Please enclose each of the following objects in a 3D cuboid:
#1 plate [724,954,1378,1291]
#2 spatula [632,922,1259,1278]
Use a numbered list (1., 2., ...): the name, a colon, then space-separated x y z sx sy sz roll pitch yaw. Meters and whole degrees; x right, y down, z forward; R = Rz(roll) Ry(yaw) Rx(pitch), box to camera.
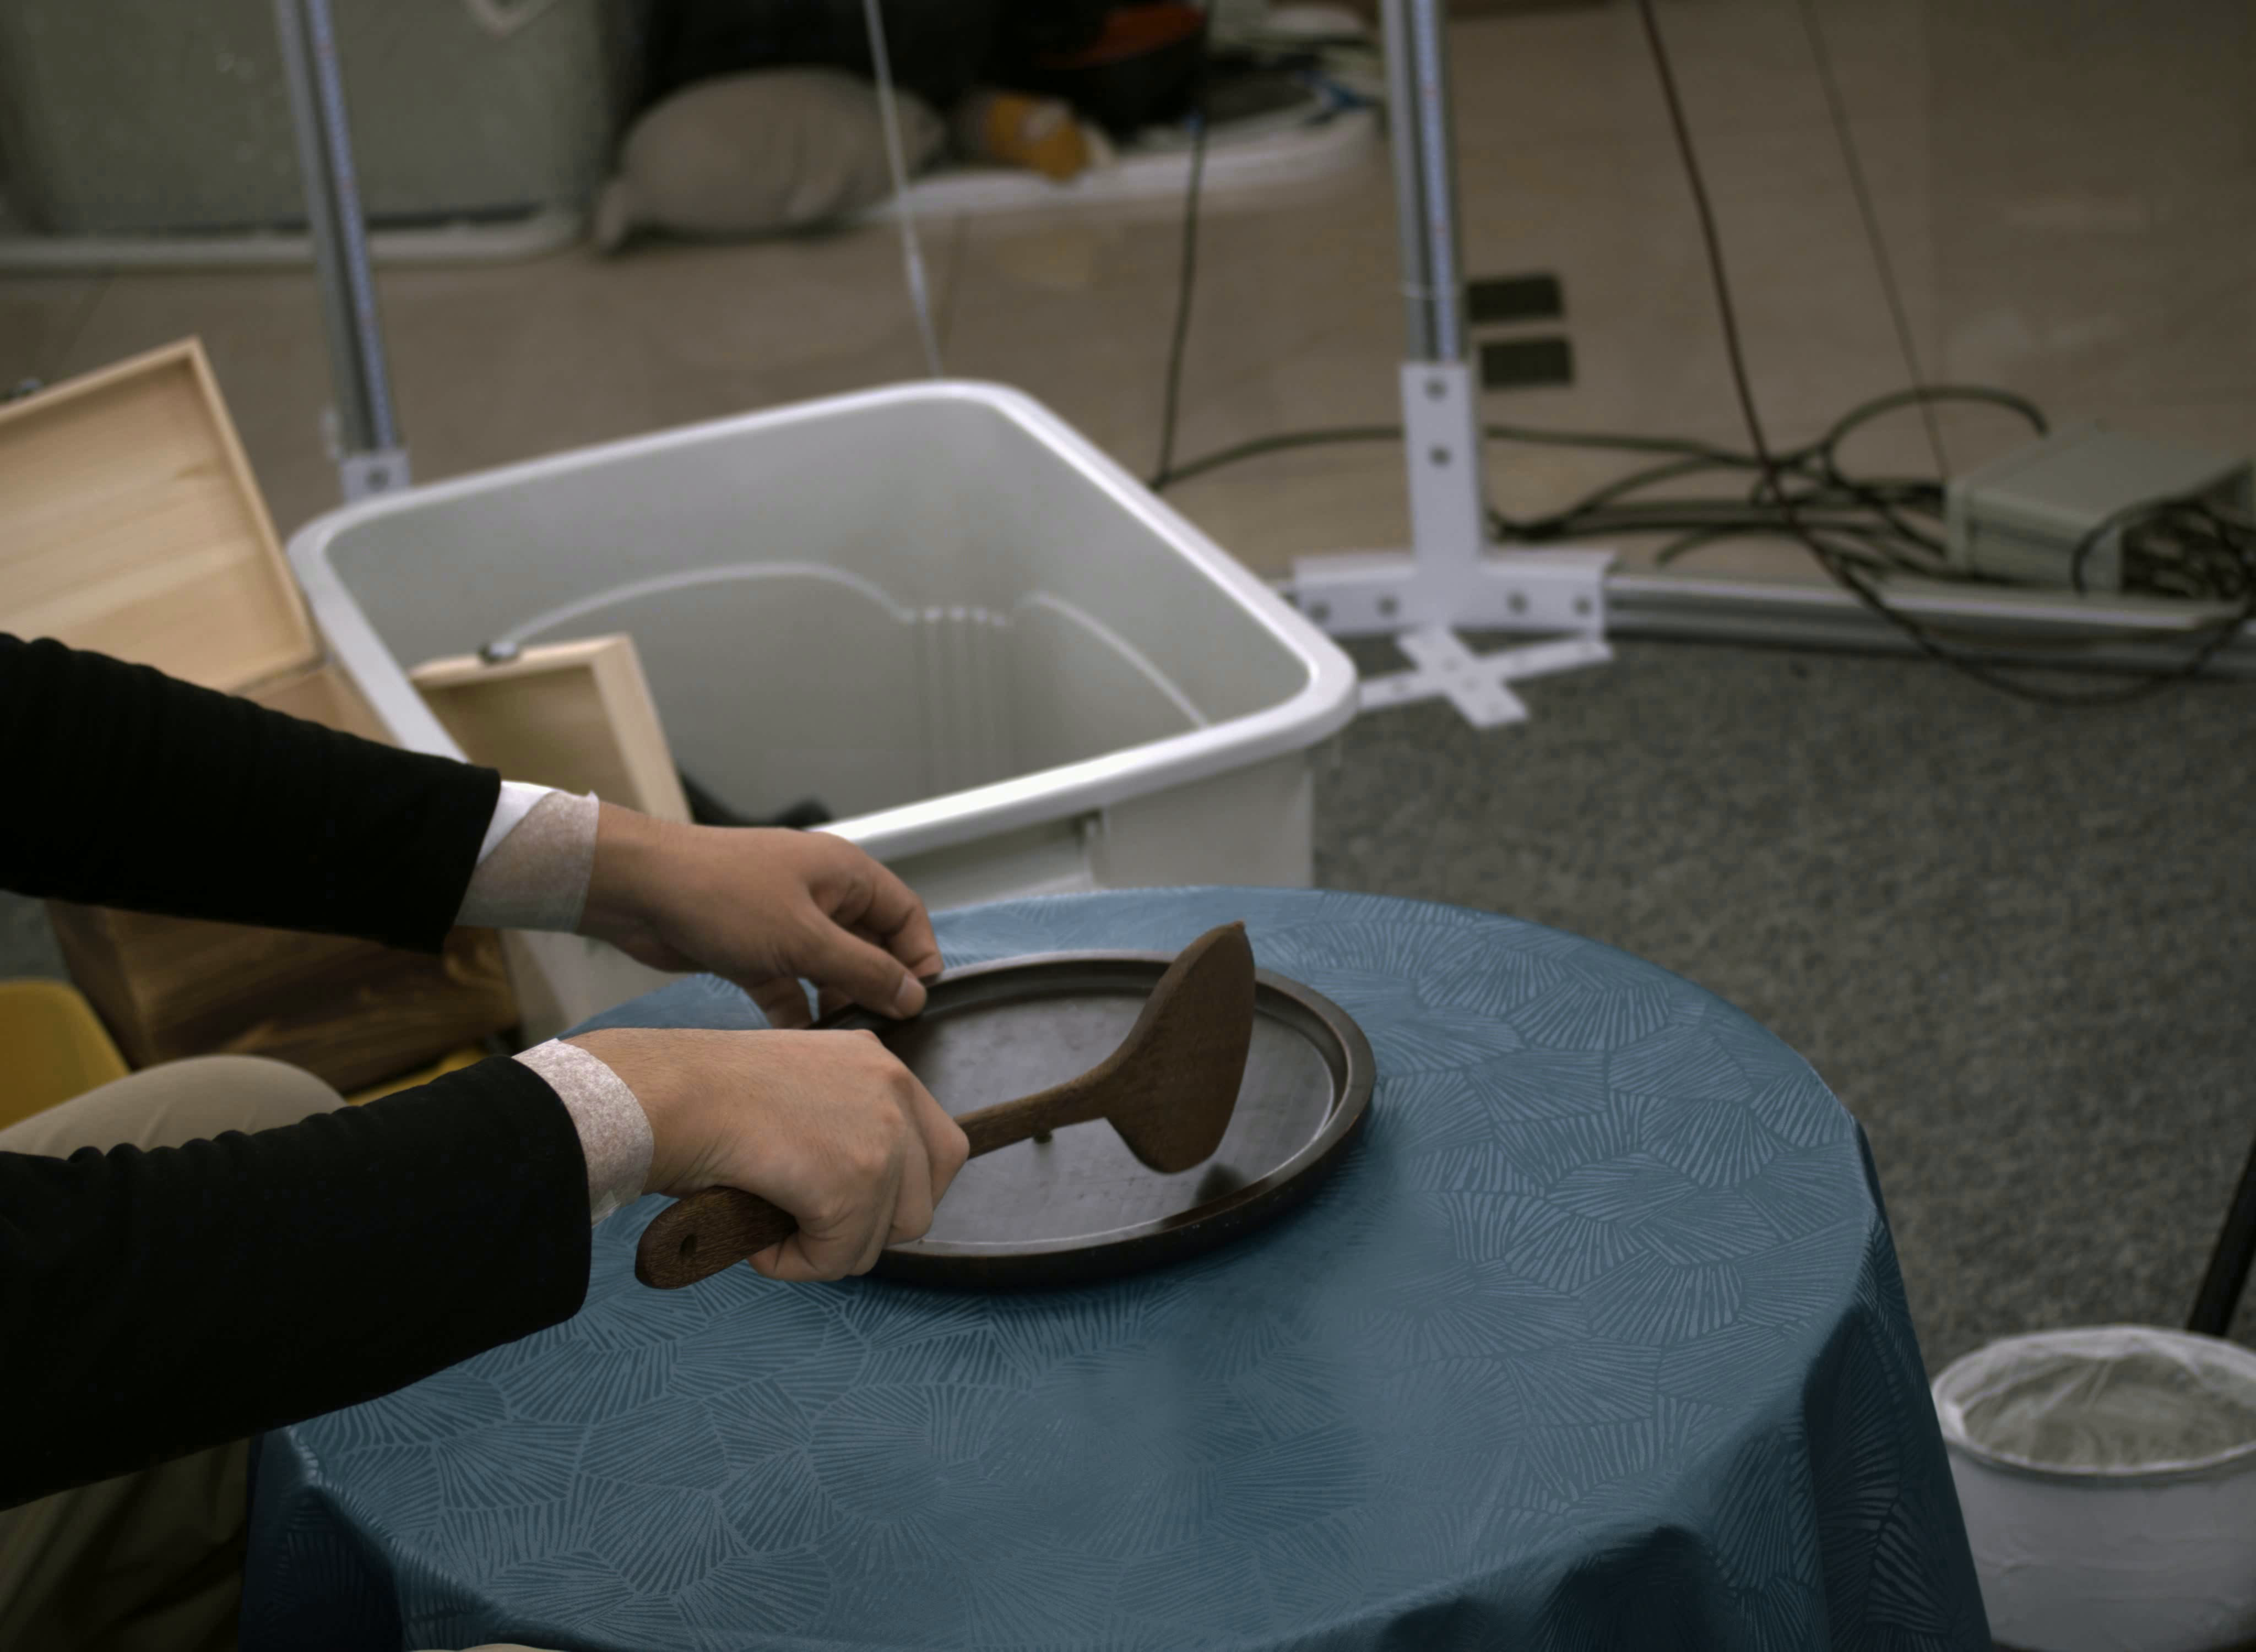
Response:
1. plate: -0.029 0.112 2.184 0.254 0.029 0.251 -5 26 3
2. spatula: -0.056 0.106 1.977 0.015 0.097 0.384 16 17 31
